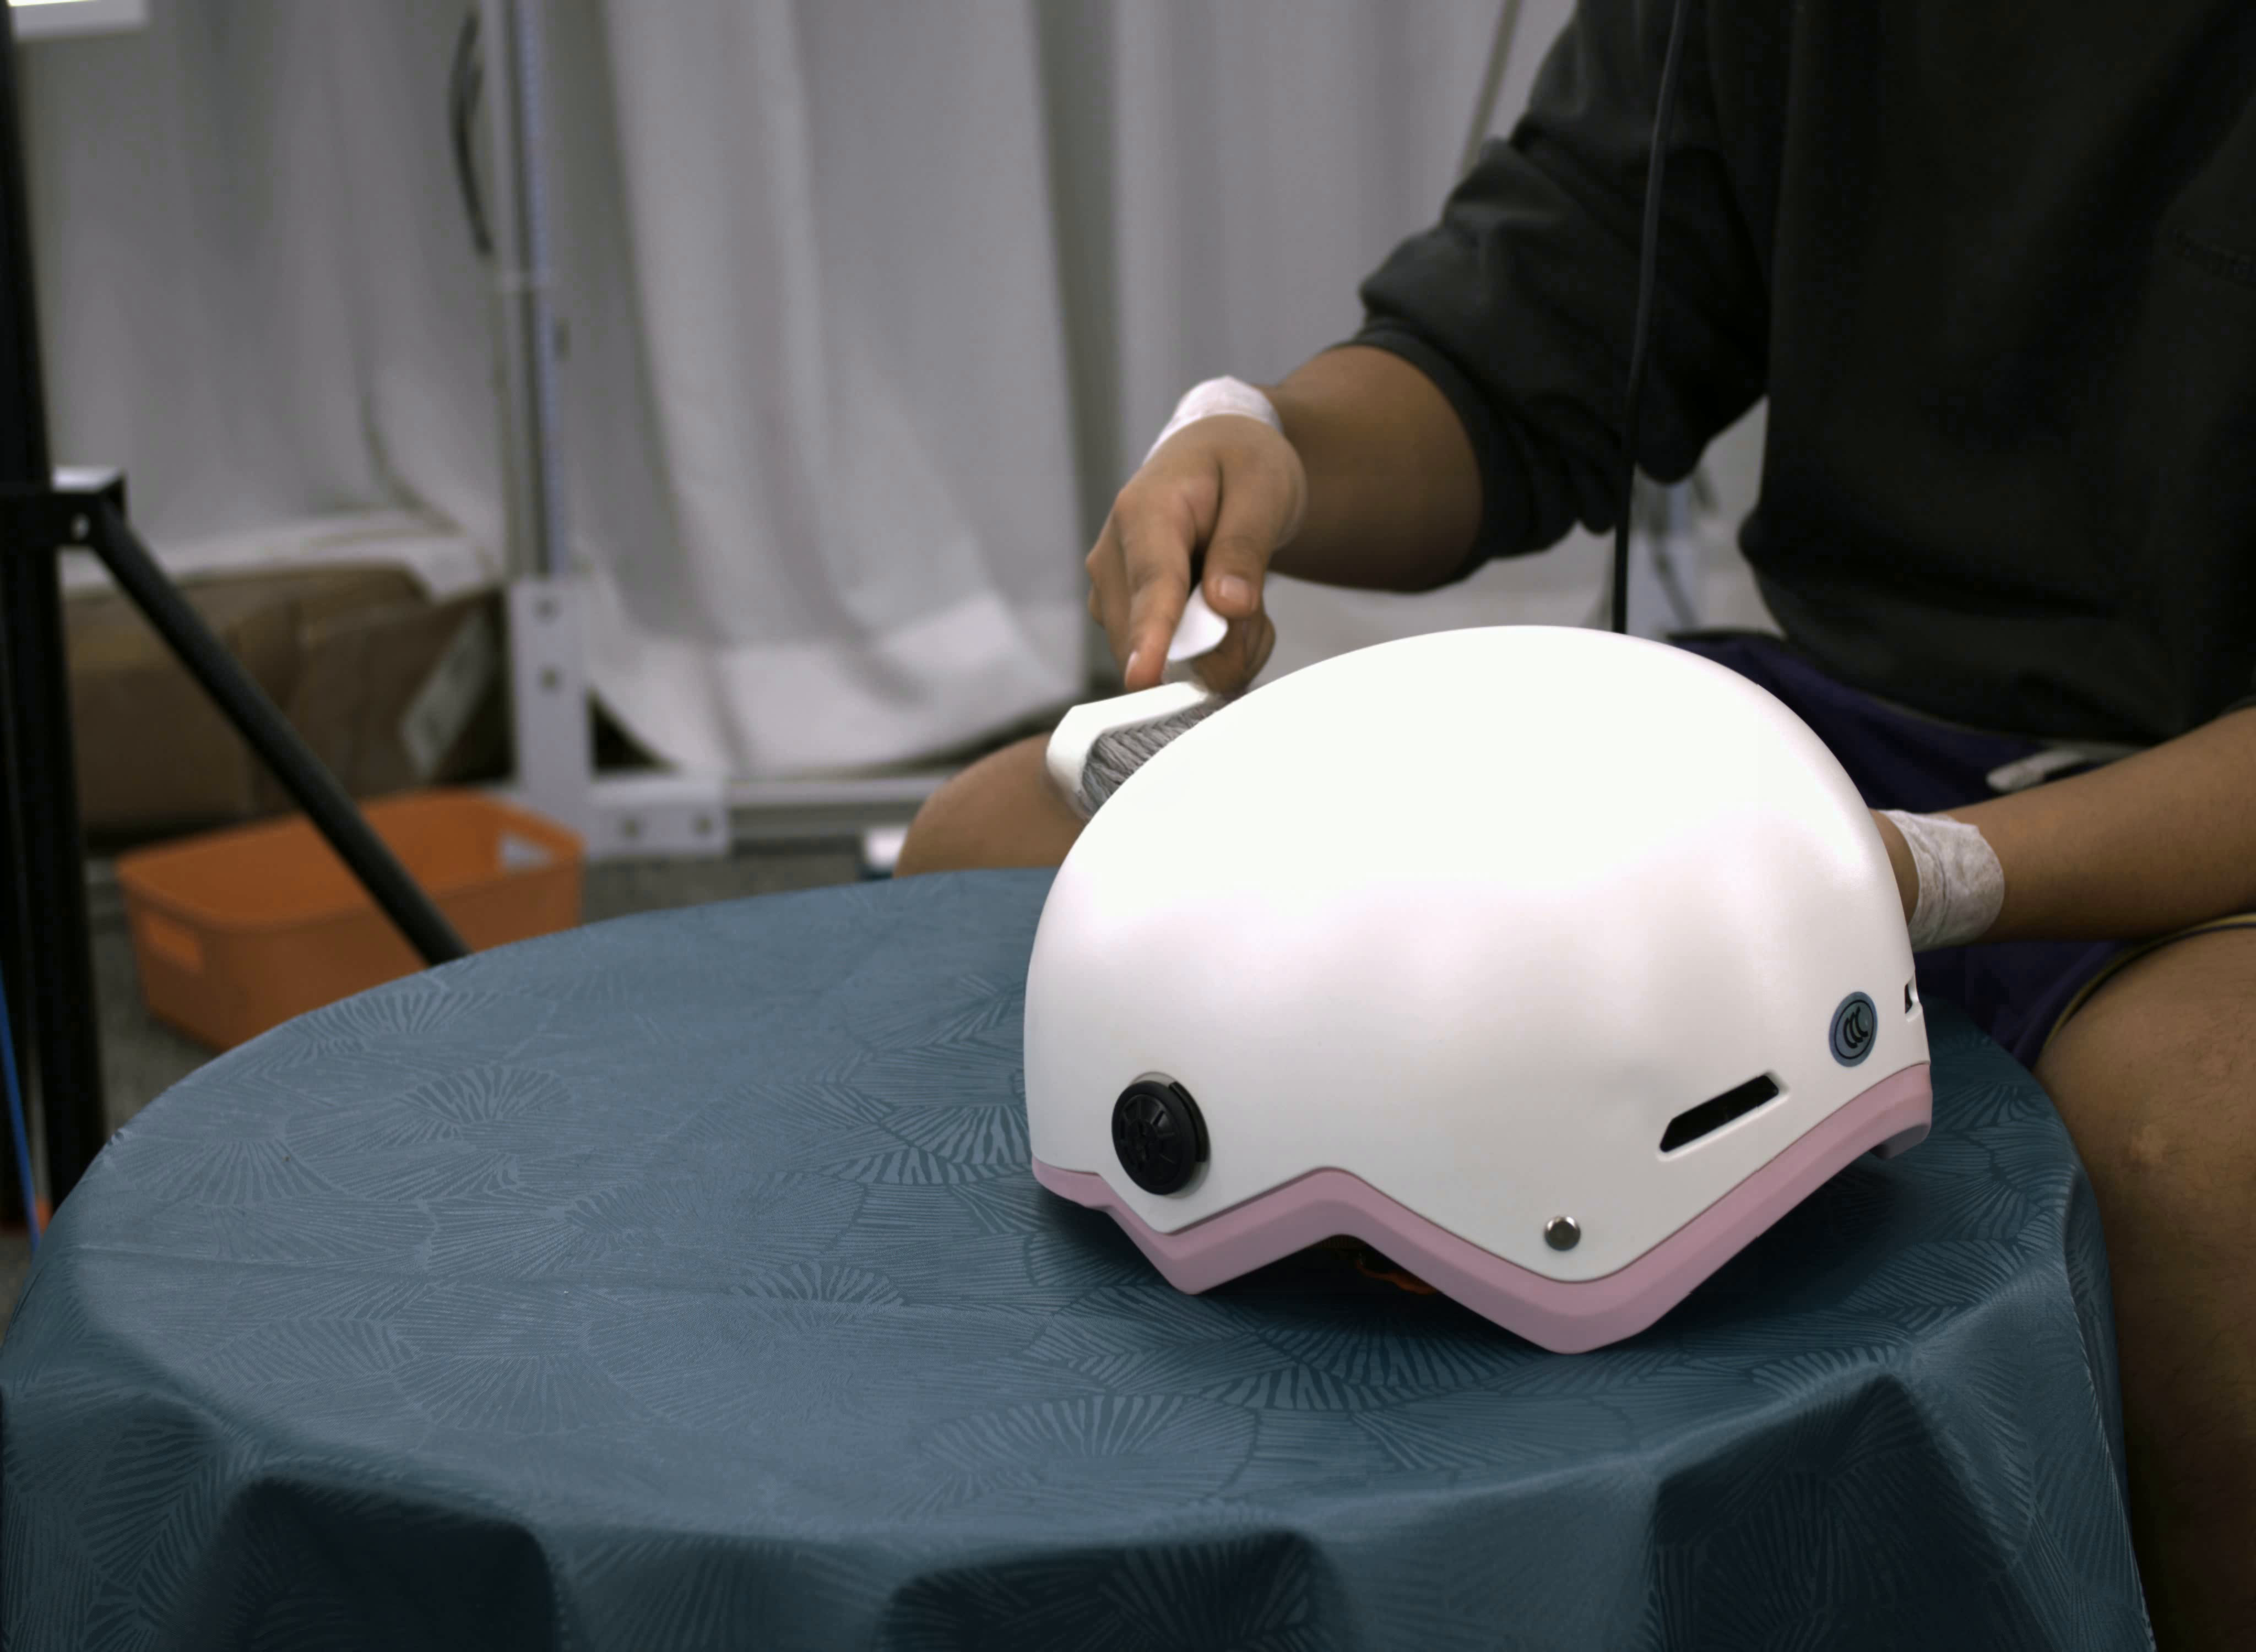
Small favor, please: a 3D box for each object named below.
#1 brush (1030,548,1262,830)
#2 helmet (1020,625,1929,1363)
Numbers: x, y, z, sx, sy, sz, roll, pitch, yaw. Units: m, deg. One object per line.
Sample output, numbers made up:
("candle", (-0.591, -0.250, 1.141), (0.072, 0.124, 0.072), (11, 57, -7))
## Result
("brush", (0.025, -0.043, 1.697), (0.050, 0.034, 0.241), (32, 22, 5))
("helmet", (0.092, 0.027, 1.510), (0.274, 0.167, 0.232), (11, 25, 40))
